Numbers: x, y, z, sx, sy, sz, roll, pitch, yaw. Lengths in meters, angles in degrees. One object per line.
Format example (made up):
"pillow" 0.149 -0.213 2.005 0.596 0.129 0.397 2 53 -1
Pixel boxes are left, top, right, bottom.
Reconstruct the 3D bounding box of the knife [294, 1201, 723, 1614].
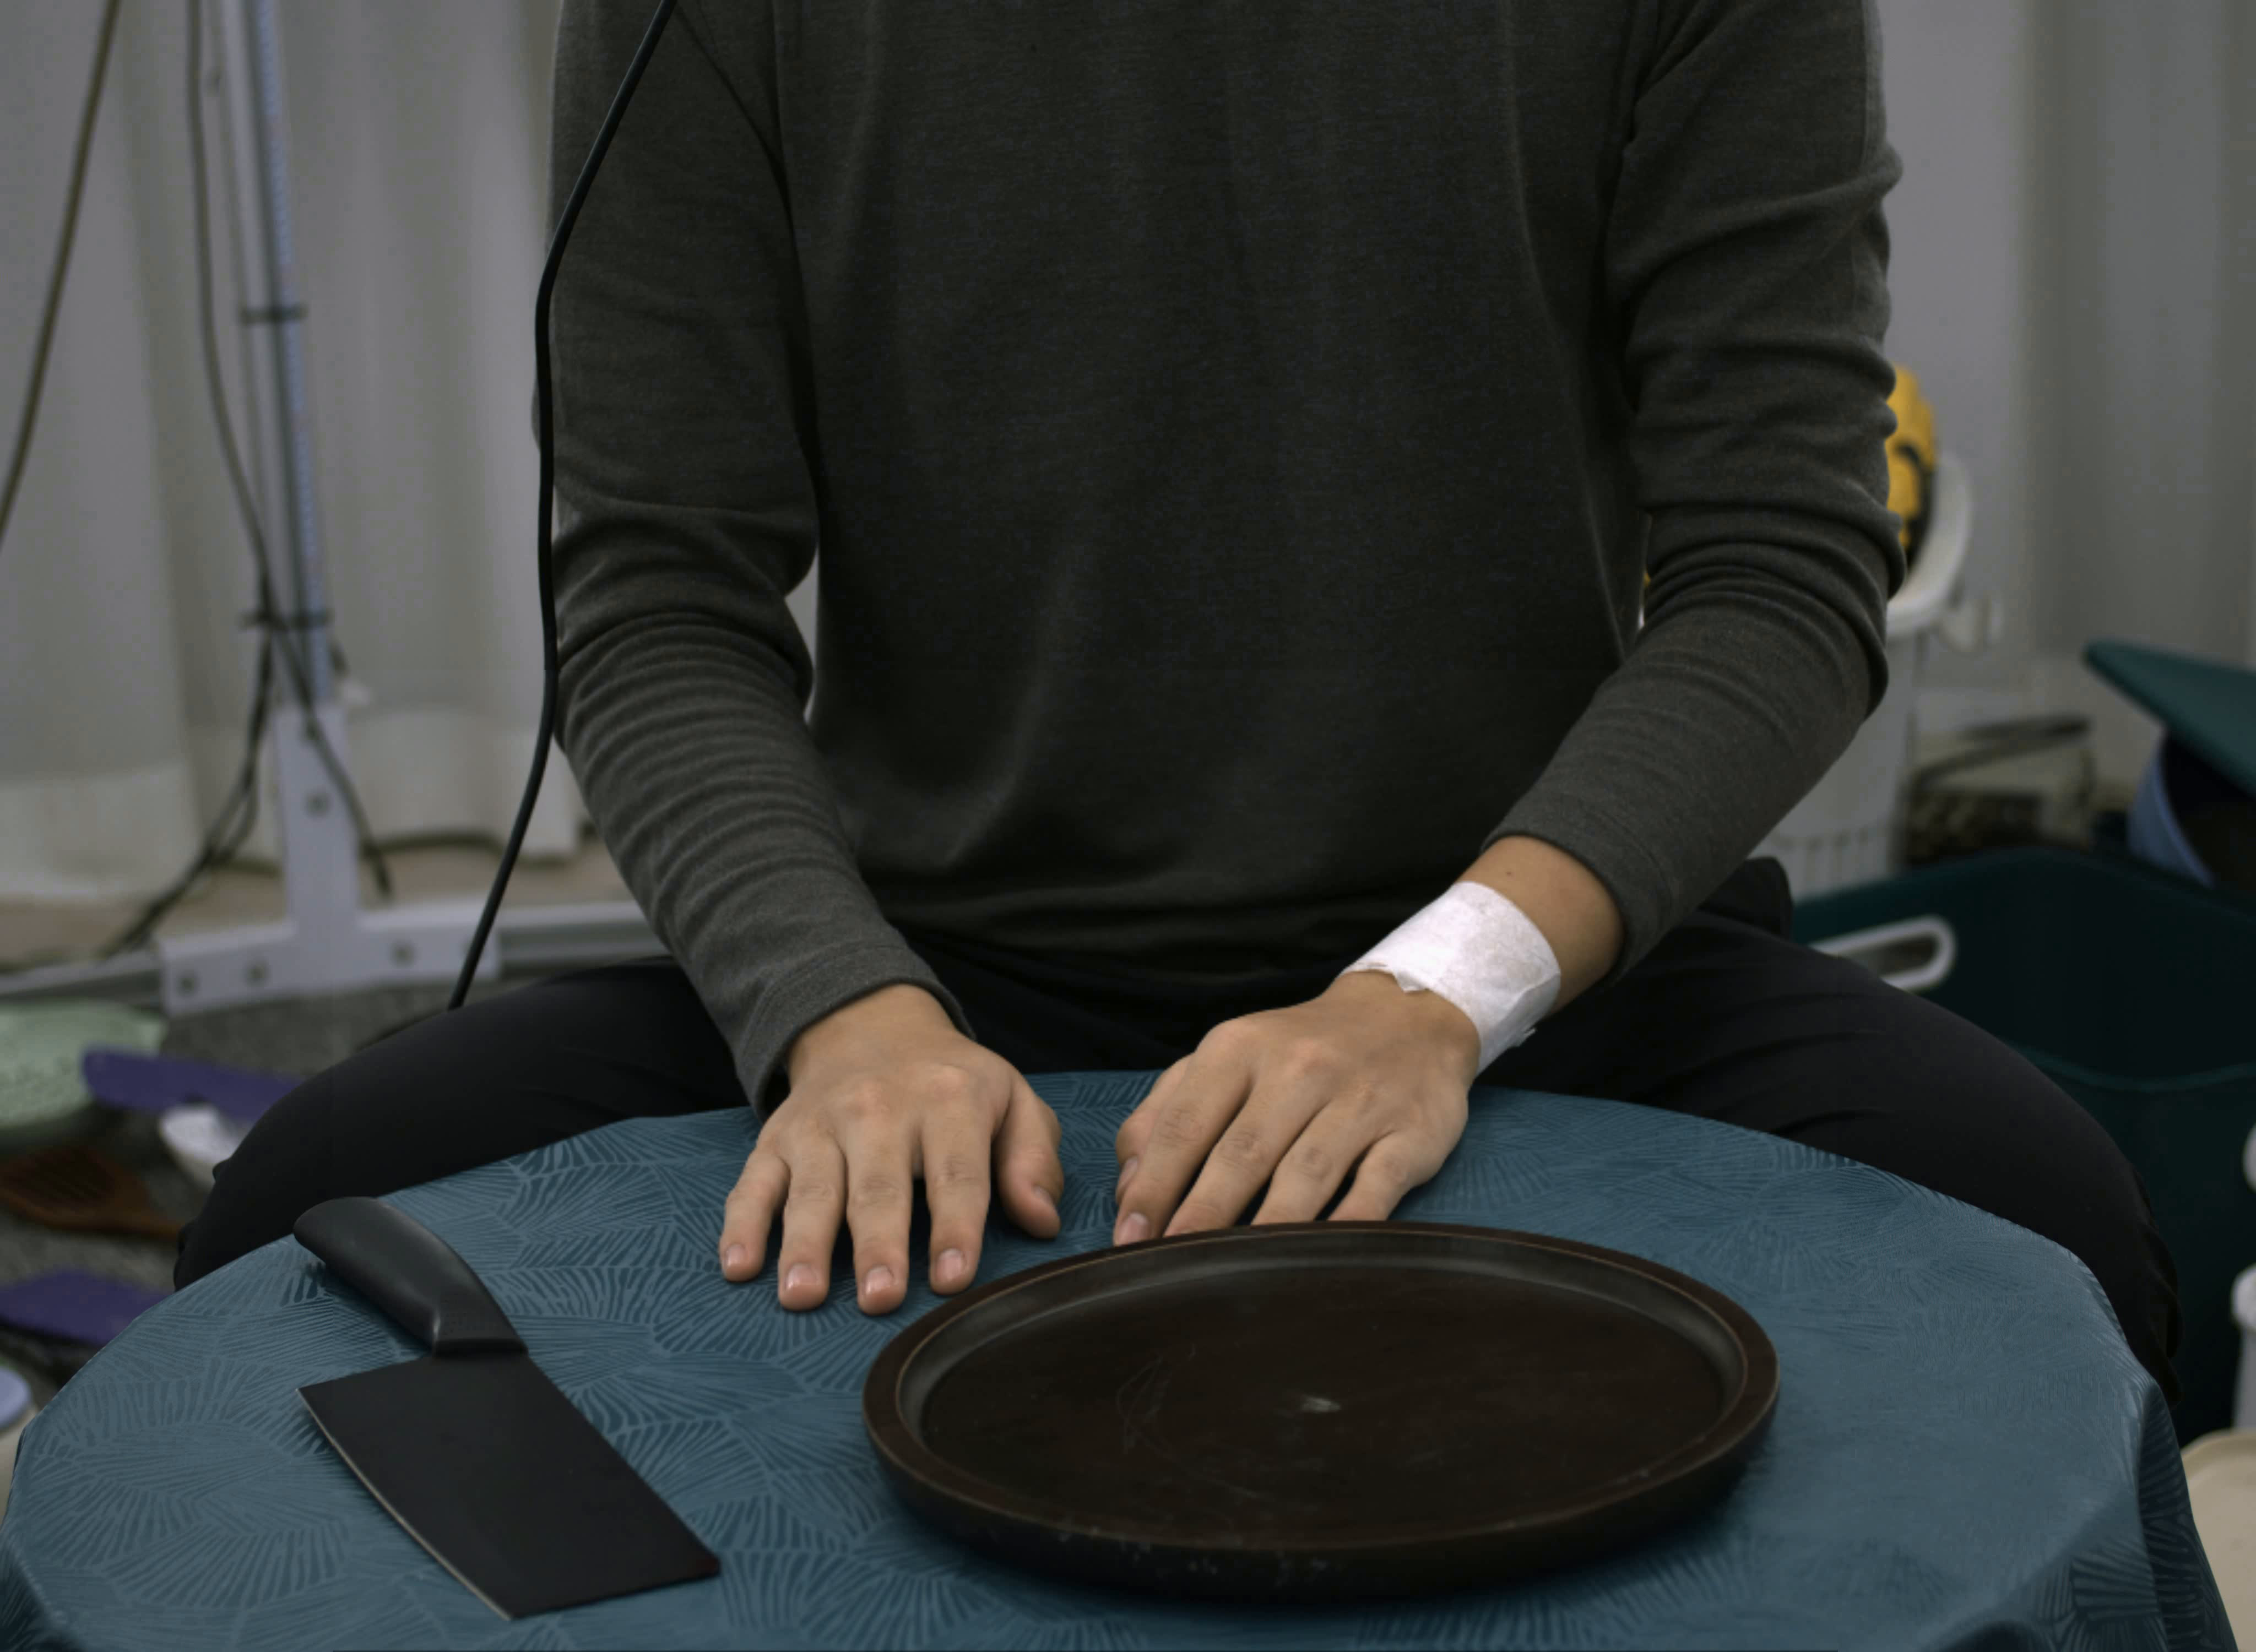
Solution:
"knife" -0.192 0.162 1.549 0.080 0.021 0.305 -9 18 -18

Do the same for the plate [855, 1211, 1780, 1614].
"plate" 0.051 0.159 1.495 0.254 0.029 0.256 -3 16 1
